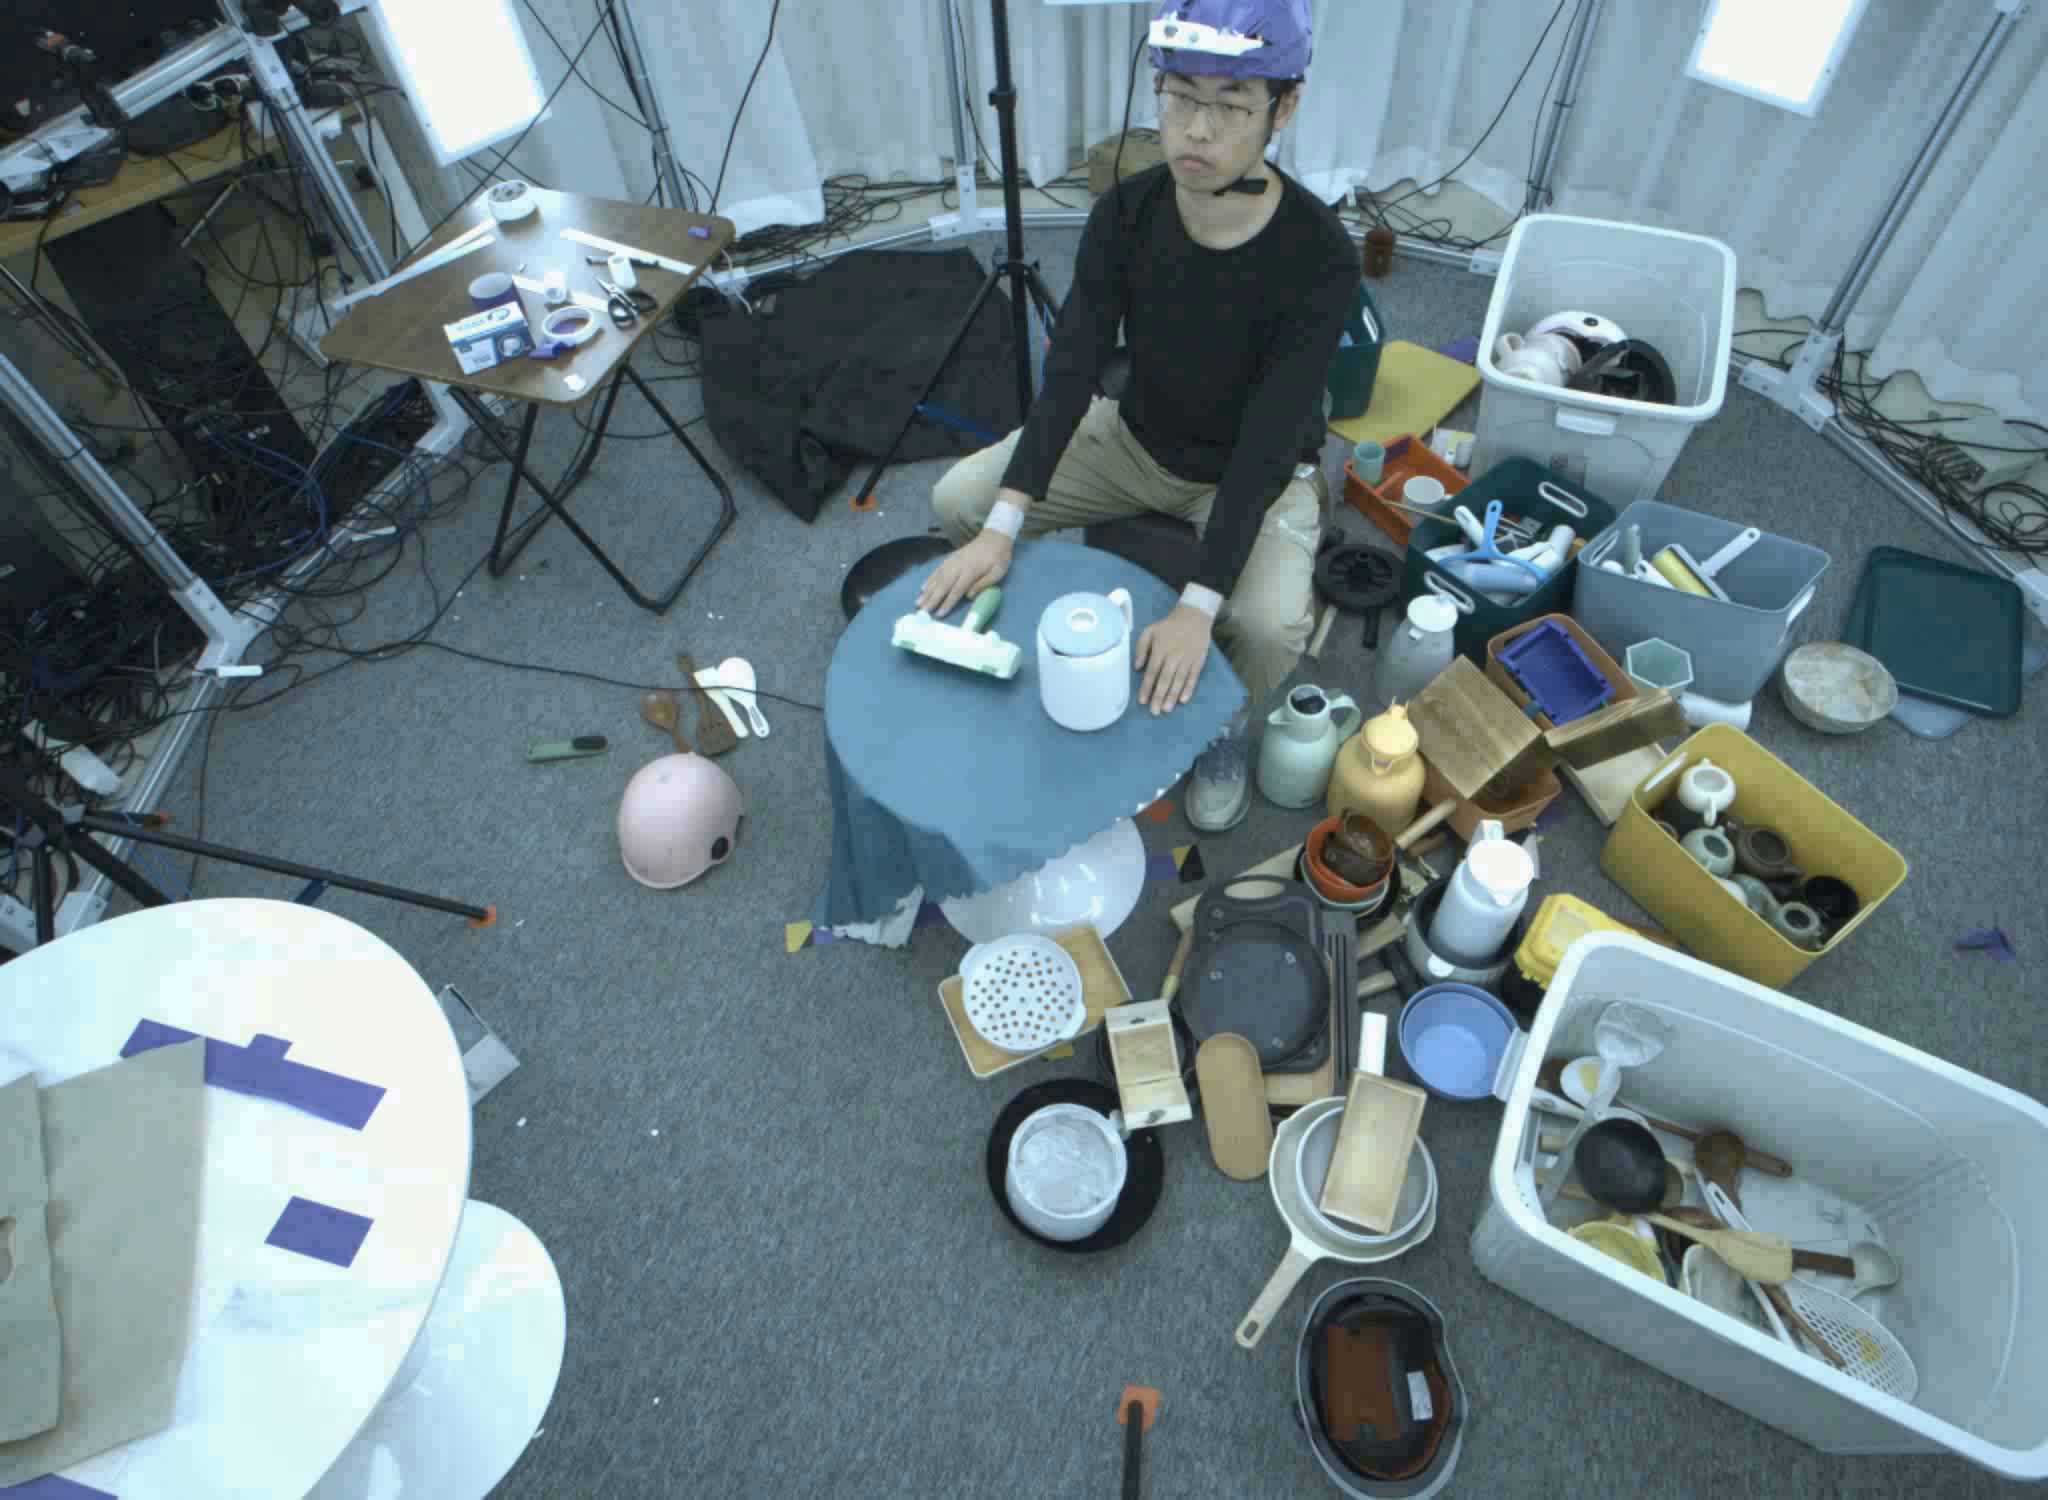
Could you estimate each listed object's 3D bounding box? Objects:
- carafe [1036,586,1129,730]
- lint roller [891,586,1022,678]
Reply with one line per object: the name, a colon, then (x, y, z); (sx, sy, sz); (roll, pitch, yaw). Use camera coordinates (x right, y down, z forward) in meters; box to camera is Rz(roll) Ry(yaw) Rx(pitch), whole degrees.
carafe: (0.099, -0.144, 1.781); (0.130, 0.184, 0.192); (27, 58, 20)
lint roller: (-0.081, -0.205, 1.888); (0.196, 0.083, 0.183); (18, 60, 13)
